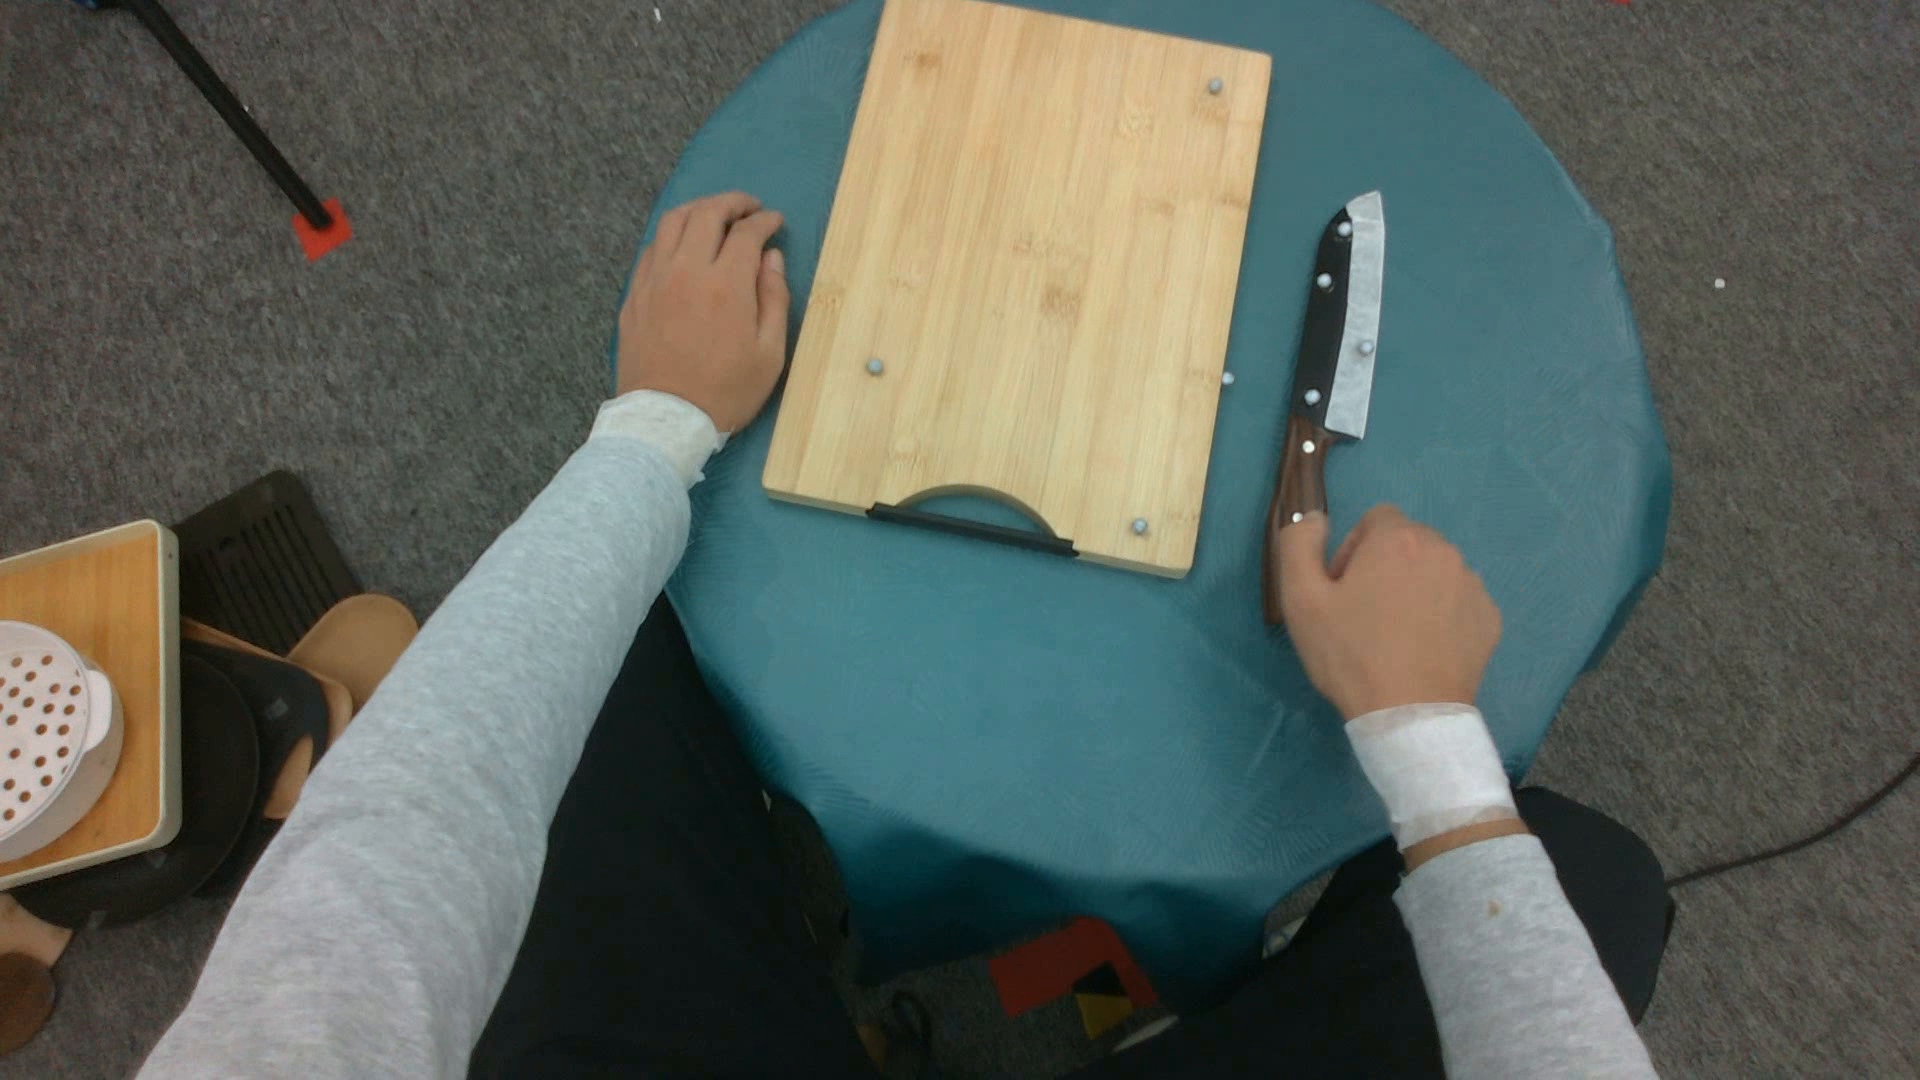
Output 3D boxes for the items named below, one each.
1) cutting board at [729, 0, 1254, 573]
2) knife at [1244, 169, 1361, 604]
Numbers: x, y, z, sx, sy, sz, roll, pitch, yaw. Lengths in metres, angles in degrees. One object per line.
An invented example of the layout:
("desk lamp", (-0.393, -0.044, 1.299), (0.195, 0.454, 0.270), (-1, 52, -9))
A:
("cutting board", (0.027, -0.167, 0.802), (0.251, 0.023, 0.349), (10, 72, 1))
("knife", (0.199, -0.096, 0.788), (0.050, 0.020, 0.290), (17, 70, -2))
